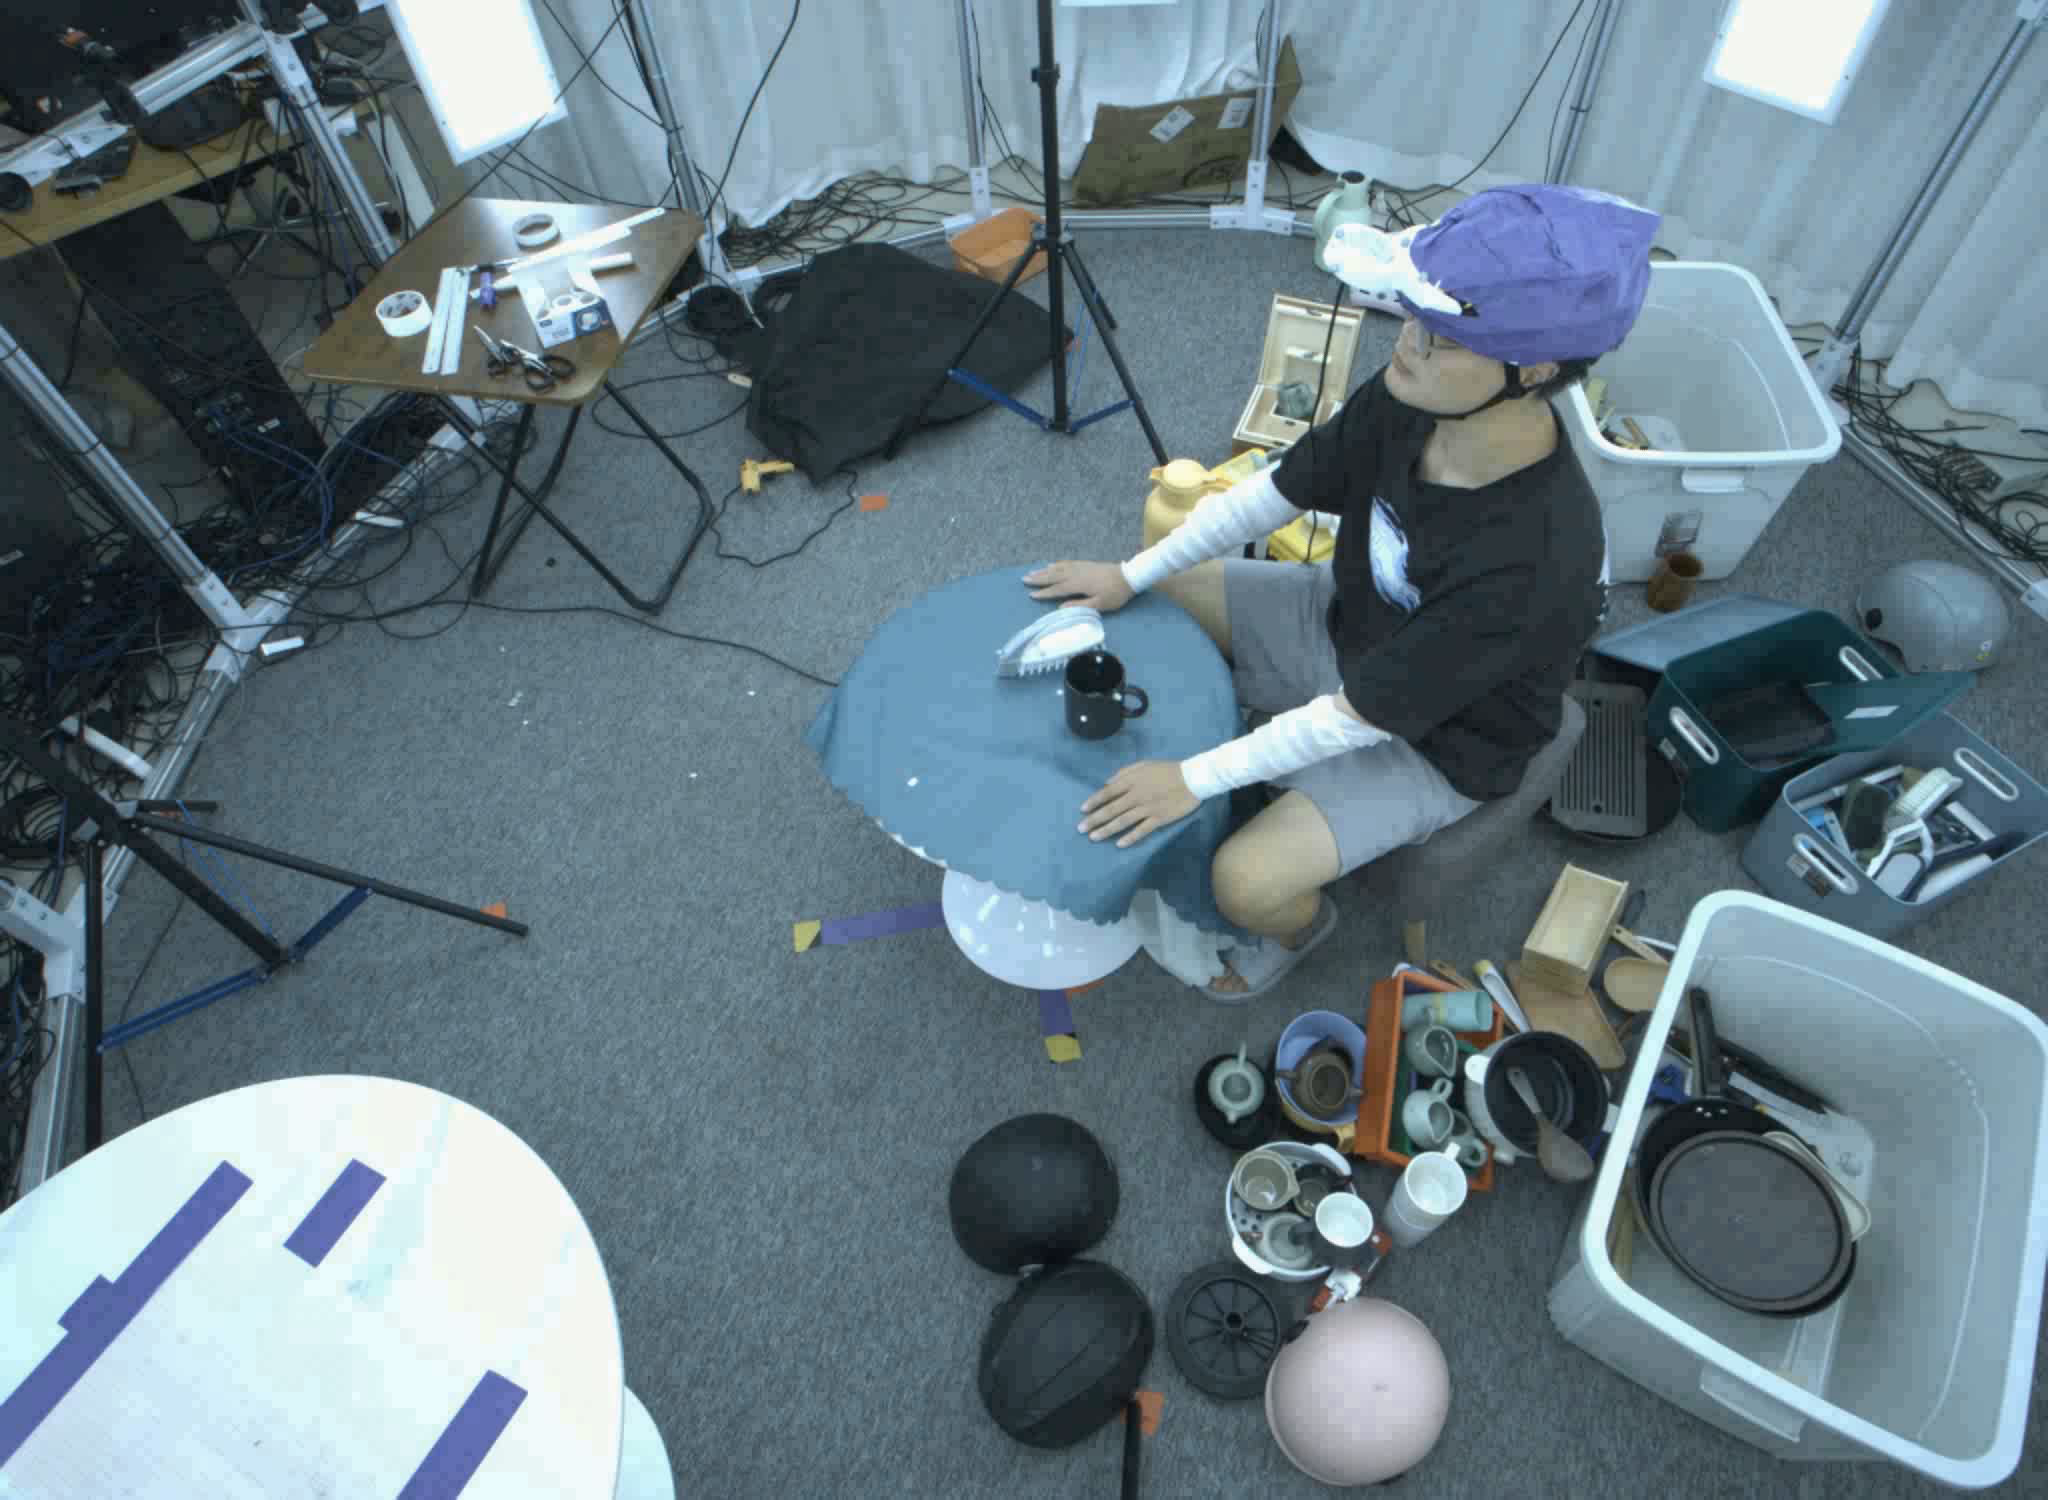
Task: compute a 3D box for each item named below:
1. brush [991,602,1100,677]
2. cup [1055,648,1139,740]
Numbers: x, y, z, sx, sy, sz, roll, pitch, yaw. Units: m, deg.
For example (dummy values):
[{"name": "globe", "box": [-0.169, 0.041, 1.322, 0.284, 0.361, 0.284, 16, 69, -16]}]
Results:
[{"name": "brush", "box": [0.025, -0.169, 1.842, 0.176, 0.095, 0.060, -22, 54, -10]}, {"name": "cup", "box": [0.105, -0.076, 1.768, 0.123, 0.106, 0.088, 12, 51, 10]}]
